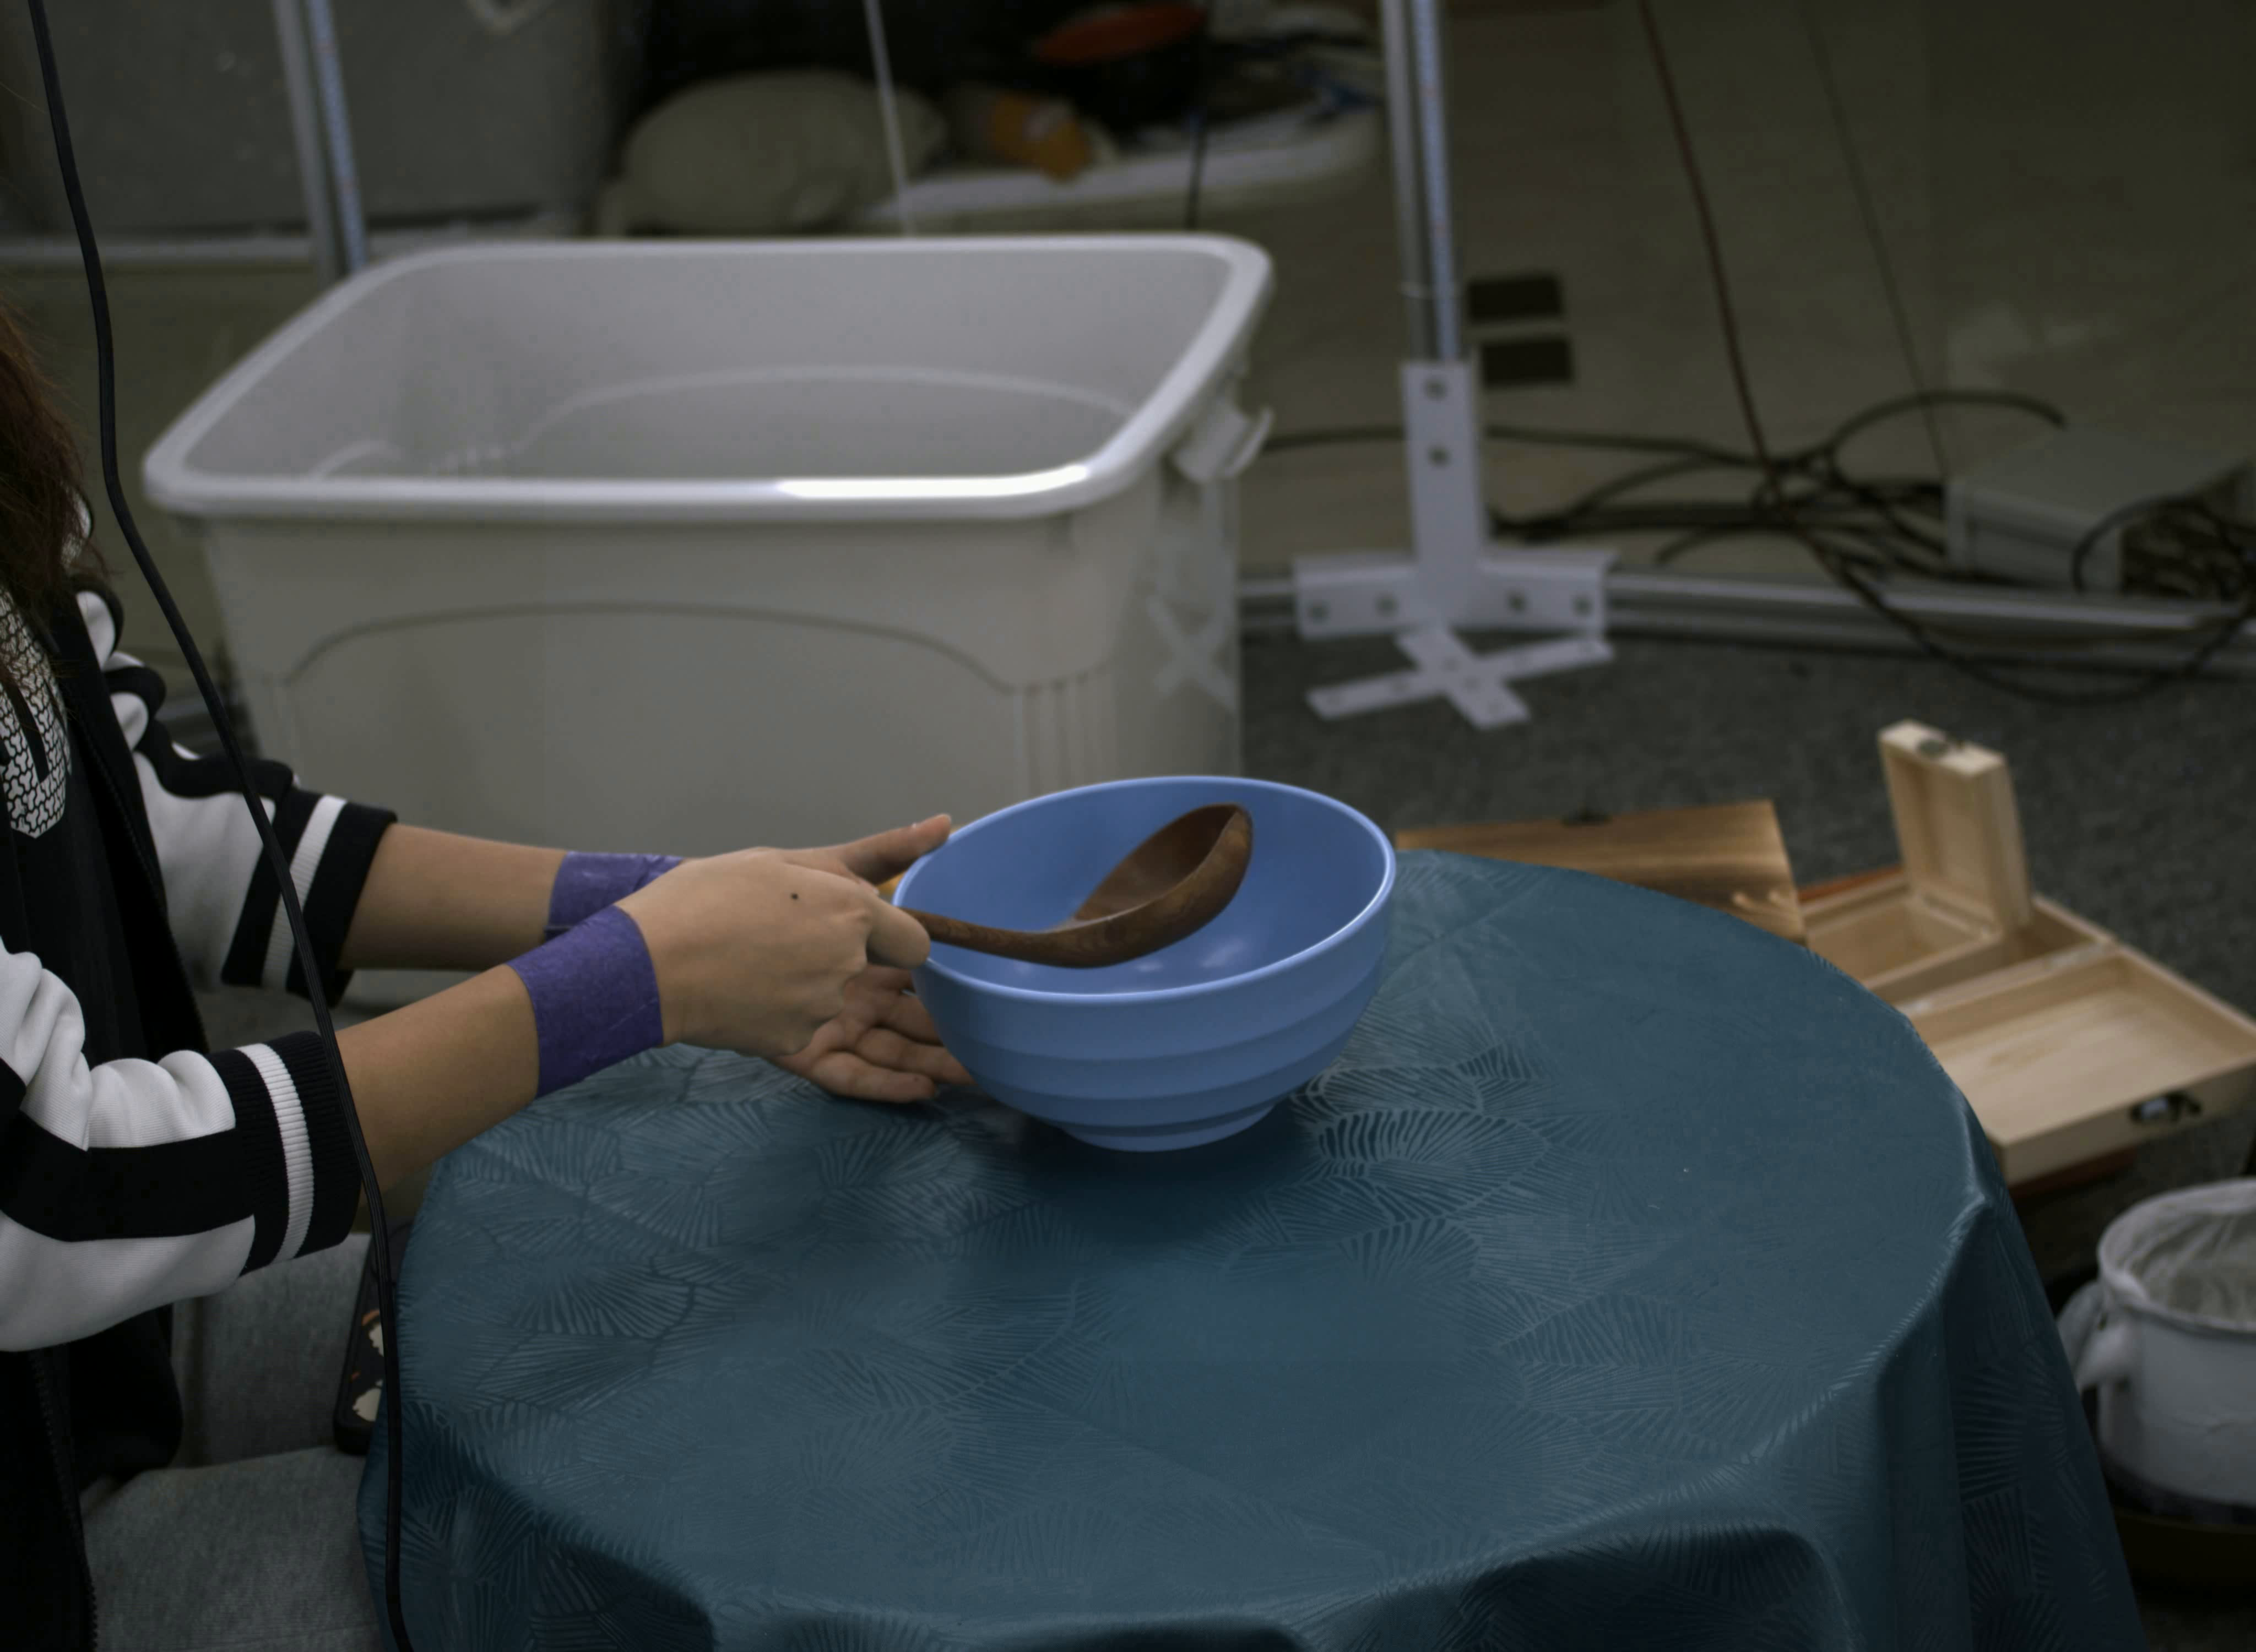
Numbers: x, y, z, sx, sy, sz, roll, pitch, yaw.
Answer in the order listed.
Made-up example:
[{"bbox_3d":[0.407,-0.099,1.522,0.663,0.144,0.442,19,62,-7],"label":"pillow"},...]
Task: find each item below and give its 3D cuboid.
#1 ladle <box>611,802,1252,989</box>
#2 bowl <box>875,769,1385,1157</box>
[{"bbox_3d":[-0.073,0.025,2.128,0.260,0.065,0.077,-1,-9,-25],"label":"ladle"},{"bbox_3d":[0.002,0.064,2.196,0.196,0.097,0.193,-2,30,1],"label":"bowl"}]
